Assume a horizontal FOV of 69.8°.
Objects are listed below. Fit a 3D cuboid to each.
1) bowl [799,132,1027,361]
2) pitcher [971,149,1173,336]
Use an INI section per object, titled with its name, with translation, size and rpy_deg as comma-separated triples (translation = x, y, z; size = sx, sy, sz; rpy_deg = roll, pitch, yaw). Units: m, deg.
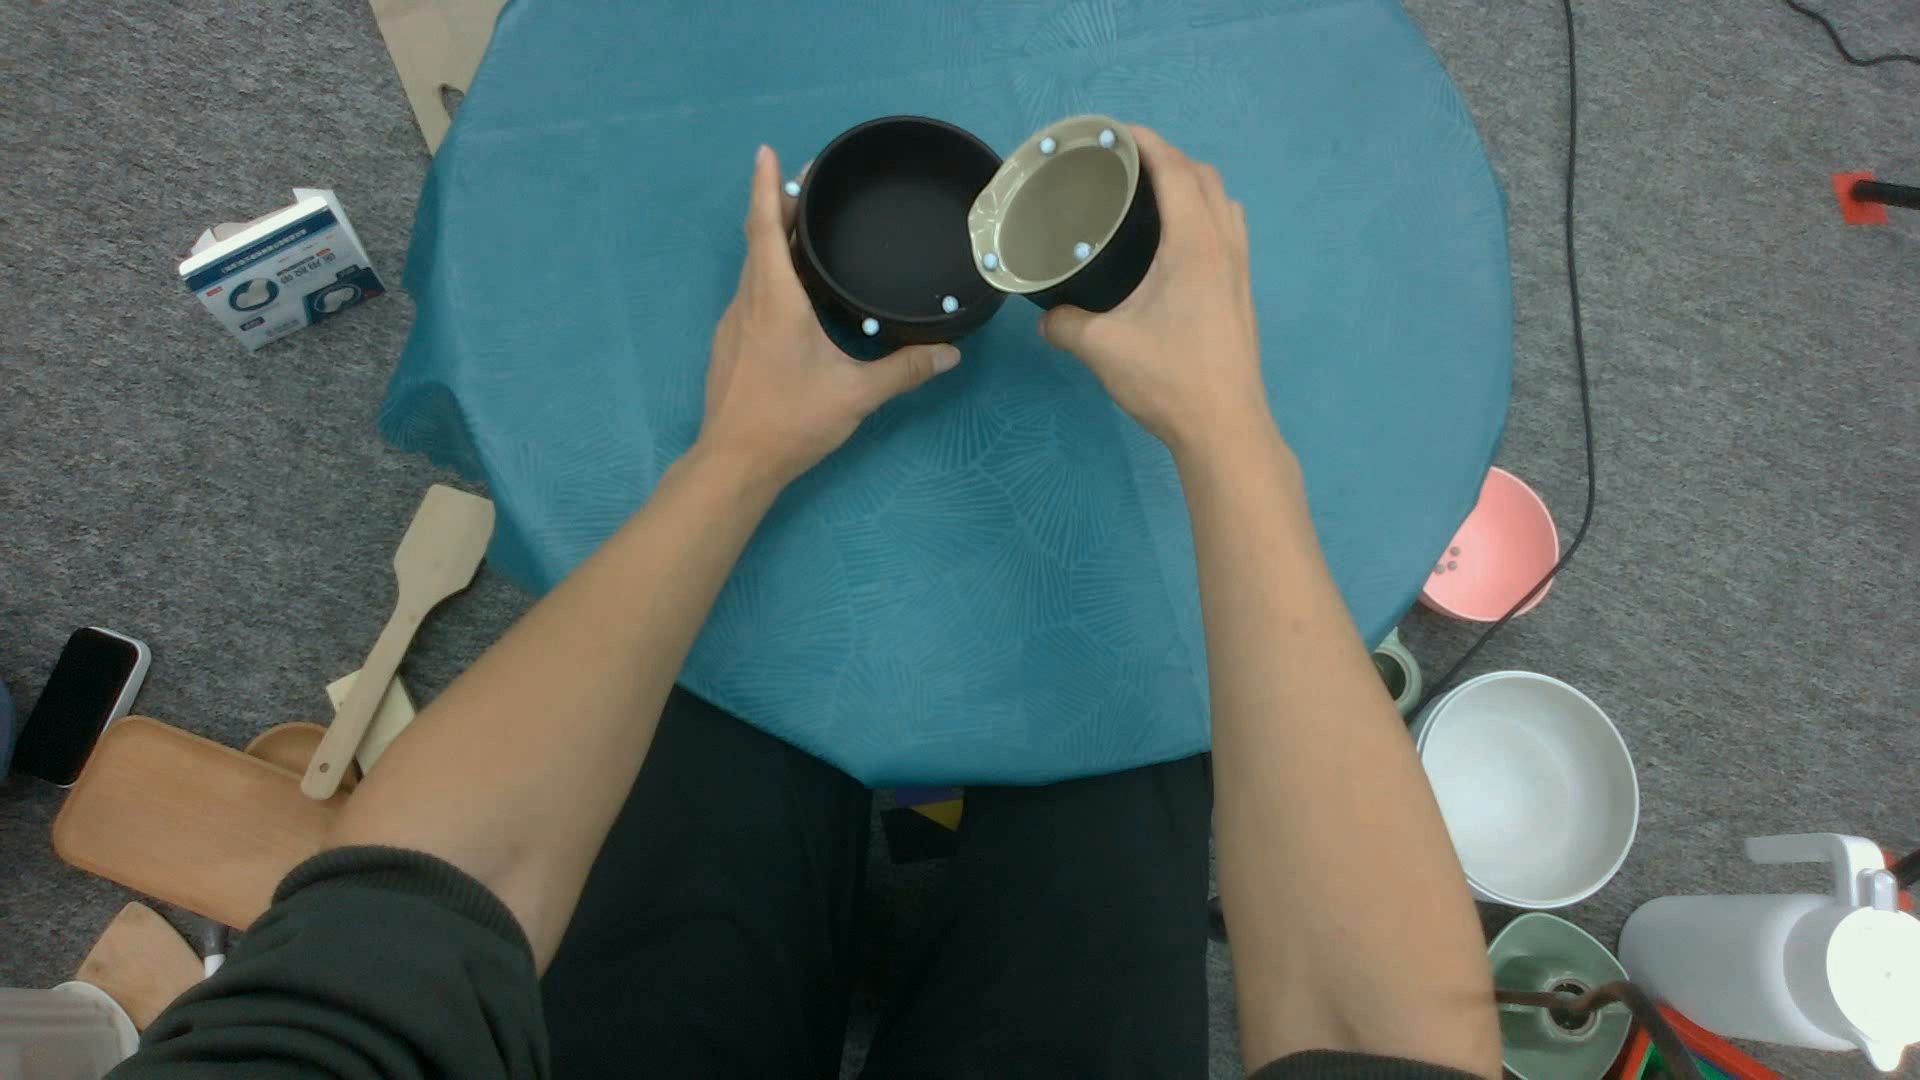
[bowl]
translation = -0.027, -0.149, 0.734
size = 0.118, 0.069, 0.118
rpy_deg = 2, 73, -7
[pitcher]
translation = 0.061, -0.141, 0.681
size = 0.096, 0.071, 0.084
rpy_deg = 15, 82, 42
